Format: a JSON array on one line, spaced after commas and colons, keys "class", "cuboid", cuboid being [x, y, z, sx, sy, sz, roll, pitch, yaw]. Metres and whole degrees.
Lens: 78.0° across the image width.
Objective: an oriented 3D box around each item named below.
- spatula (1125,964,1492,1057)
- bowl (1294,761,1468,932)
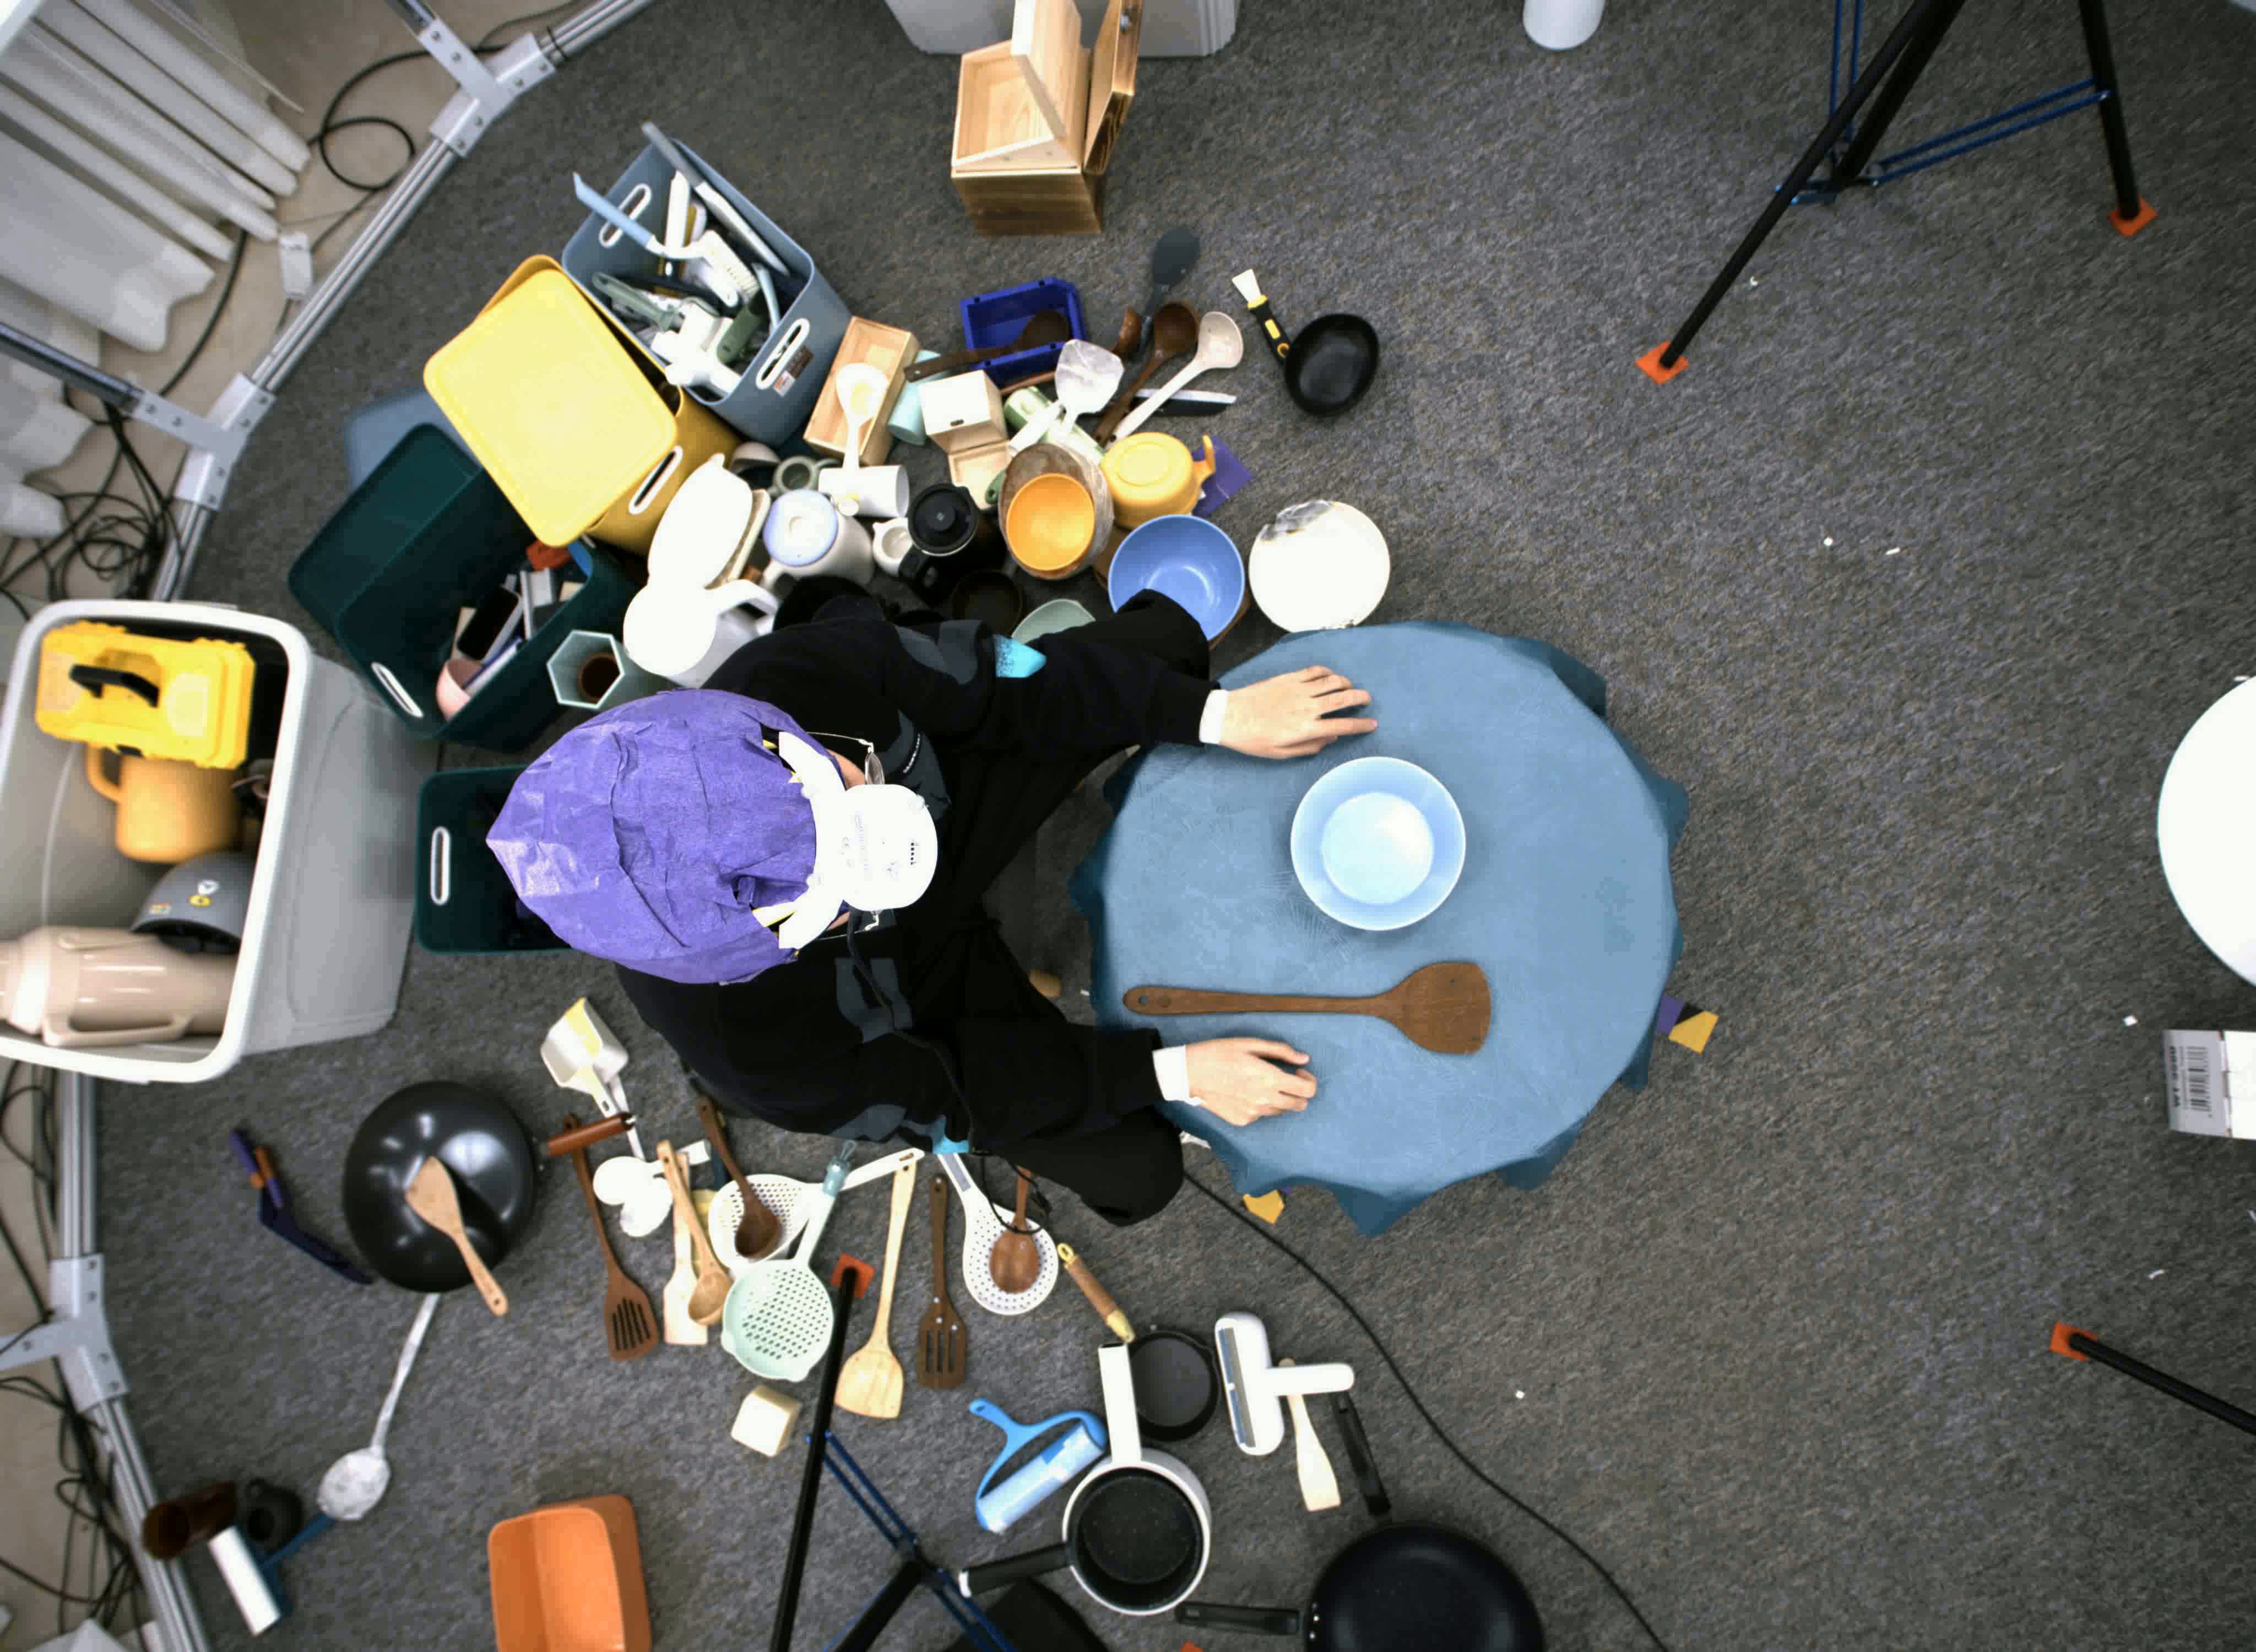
[{"class": "spatula", "cuboid": [0.187, 0.191, 1.465, 0.387, 0.016, 0.095, 0, 85, 10]}, {"class": "bowl", "cuboid": [0.263, 0.023, 1.434, 0.177, 0.070, 0.175, -1, 85, 11]}]
